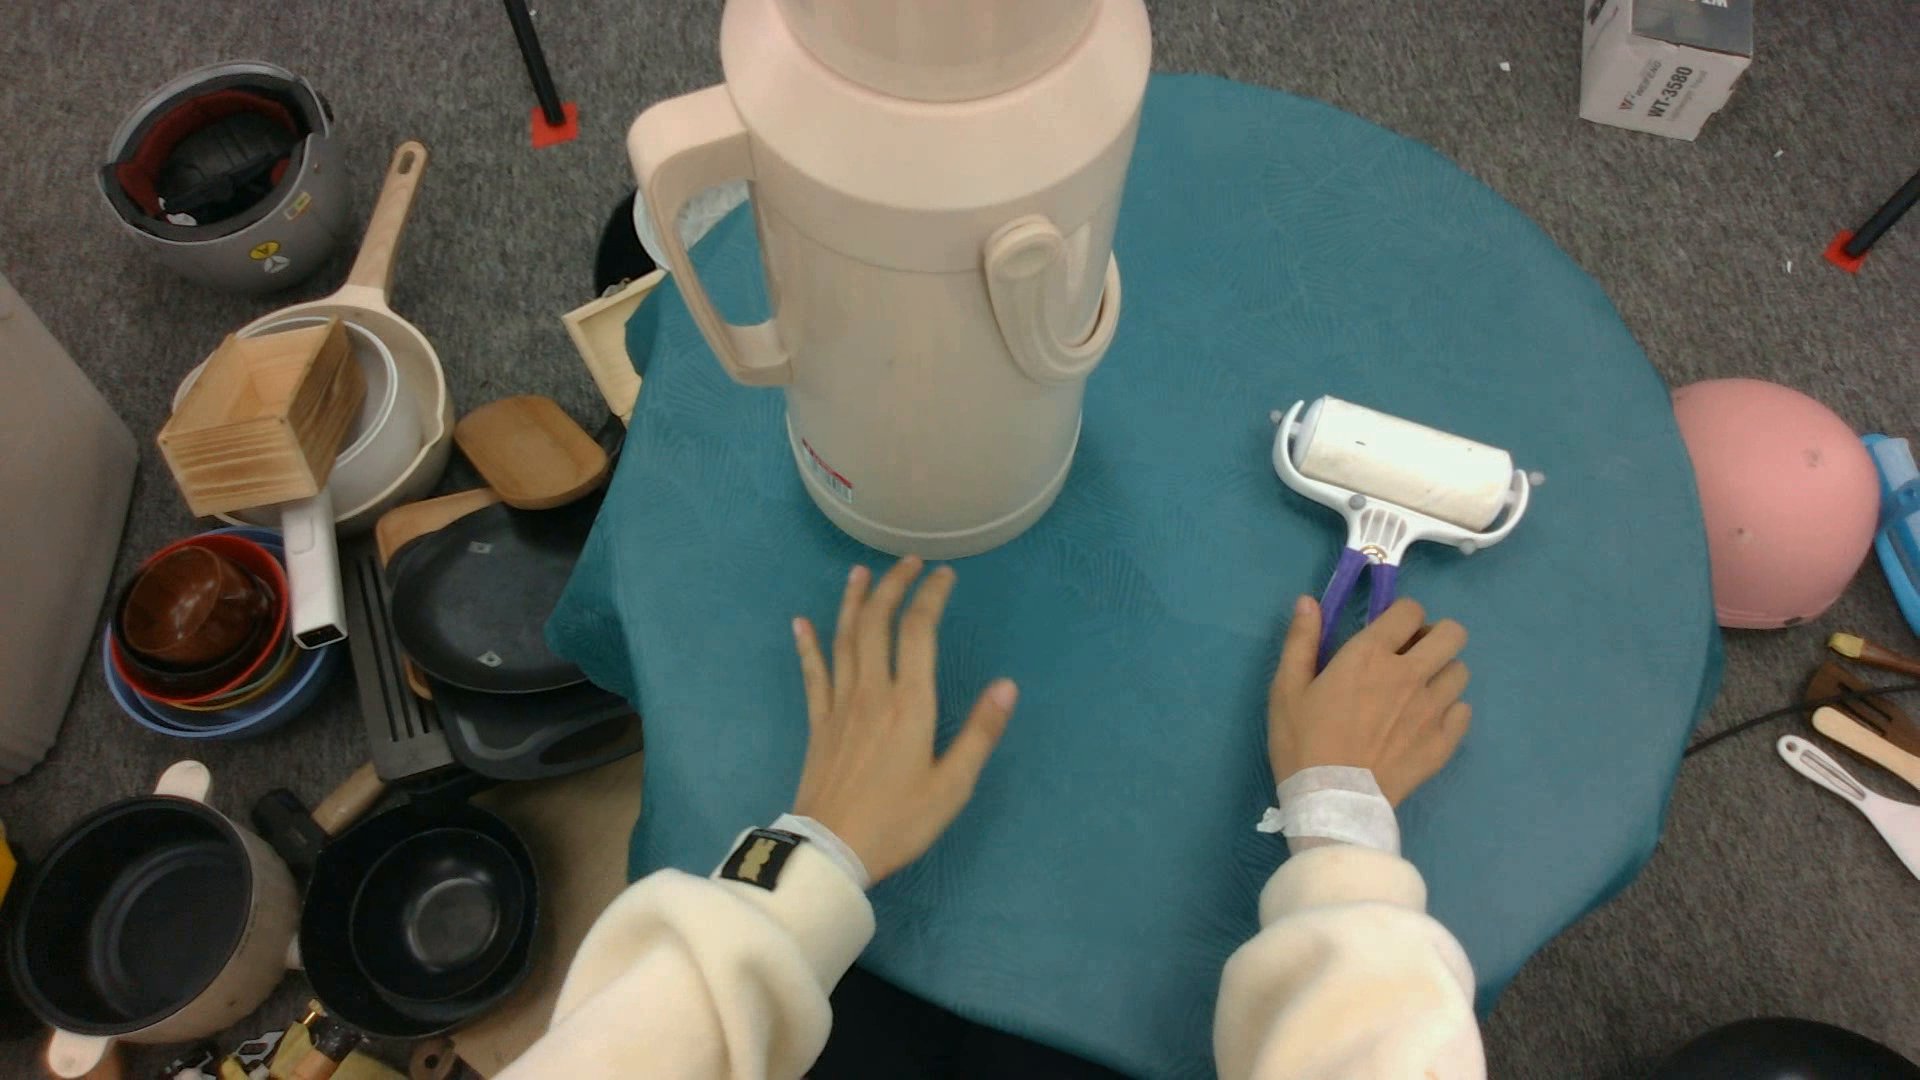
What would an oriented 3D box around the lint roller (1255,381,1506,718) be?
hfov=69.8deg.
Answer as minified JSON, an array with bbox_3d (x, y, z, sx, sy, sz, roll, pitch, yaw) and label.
[{"bbox_3d":[0.204,0.005,0.718,0.133,0.050,0.181,21,63,6],"label":"lint roller"}]

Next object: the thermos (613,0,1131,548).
[{"bbox_3d":[-0.030,-0.145,0.589,0.207,0.405,0.175,-21,68,-11],"label":"thermos"}]
